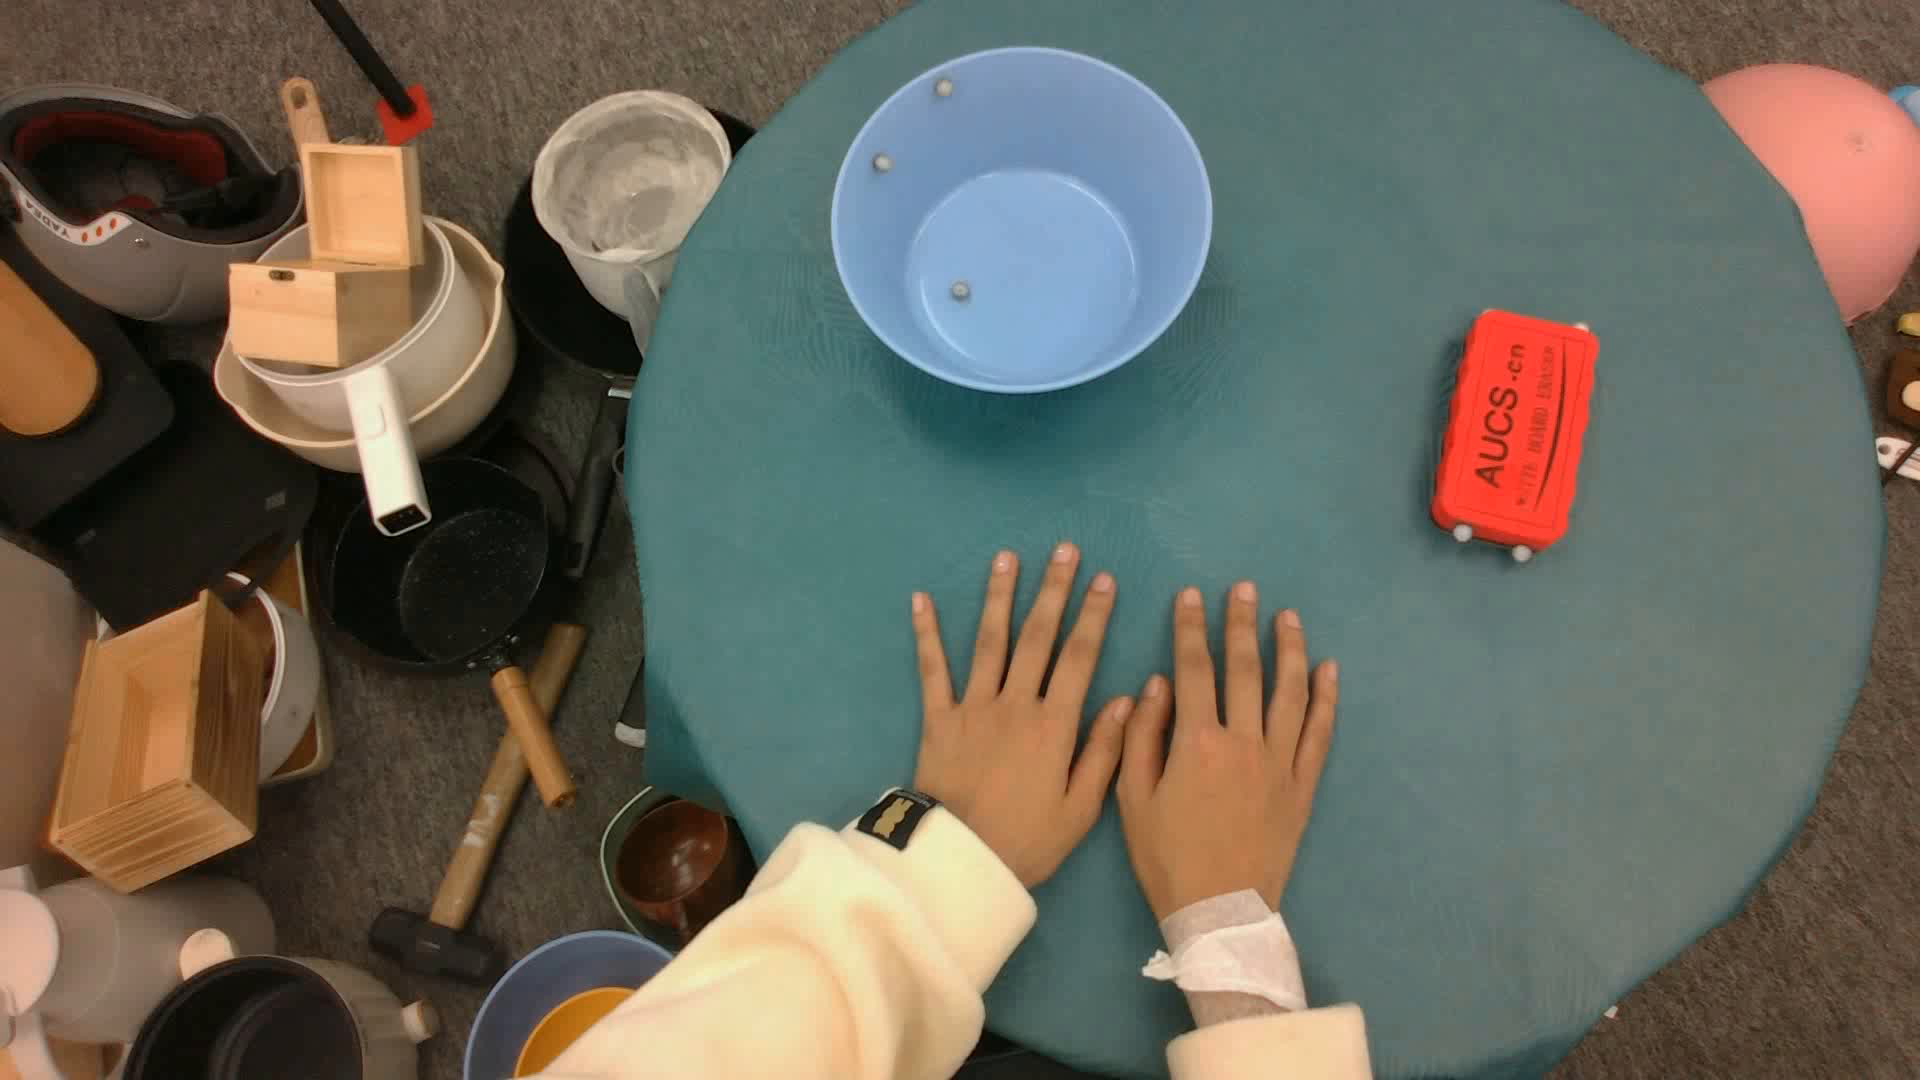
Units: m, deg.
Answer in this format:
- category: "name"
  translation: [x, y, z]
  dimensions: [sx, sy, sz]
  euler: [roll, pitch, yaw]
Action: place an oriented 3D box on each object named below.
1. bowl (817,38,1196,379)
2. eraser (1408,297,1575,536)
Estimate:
- category: "bowl"
  translation: [0.022, -0.147, 0.664]
  dimensions: [0.176, 0.070, 0.176]
  euler: [-1, 73, 2]
- category: "eraser"
  translation: [0.253, -0.059, 0.654]
  dimensions: [0.059, 0.023, 0.108]
  euler: [16, 75, 5]
